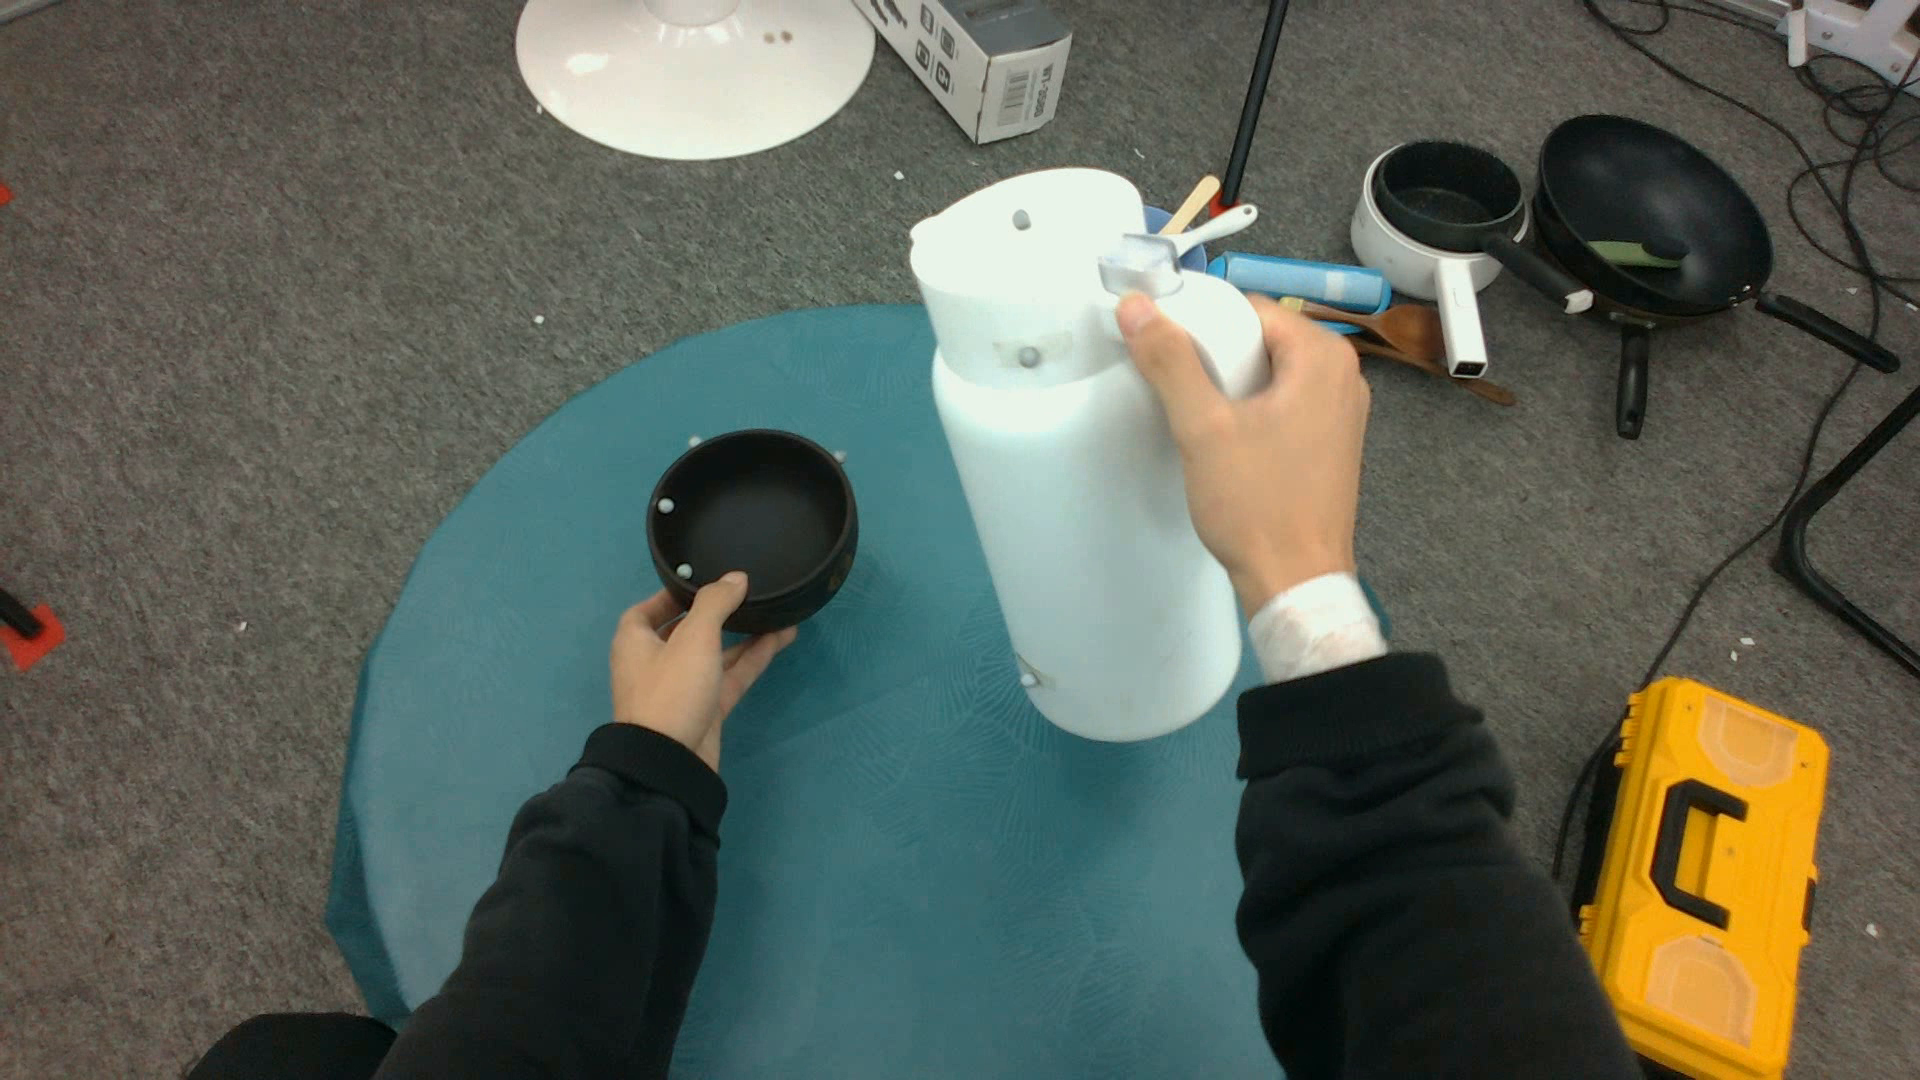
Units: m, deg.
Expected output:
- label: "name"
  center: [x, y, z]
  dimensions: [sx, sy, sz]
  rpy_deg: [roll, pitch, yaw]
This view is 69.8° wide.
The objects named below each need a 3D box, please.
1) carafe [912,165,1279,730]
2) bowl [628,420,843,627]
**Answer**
- label: "carafe"
  center: [0.070, -0.031, 0.649]
  dimensions: [0.173, 0.268, 0.124]
  rpy_deg: [24, 52, 38]
- label: "bowl"
  center: [-0.125, -0.003, 0.784]
  dimensions: [0.118, 0.069, 0.118]
  rpy_deg: [1, 59, -1]
